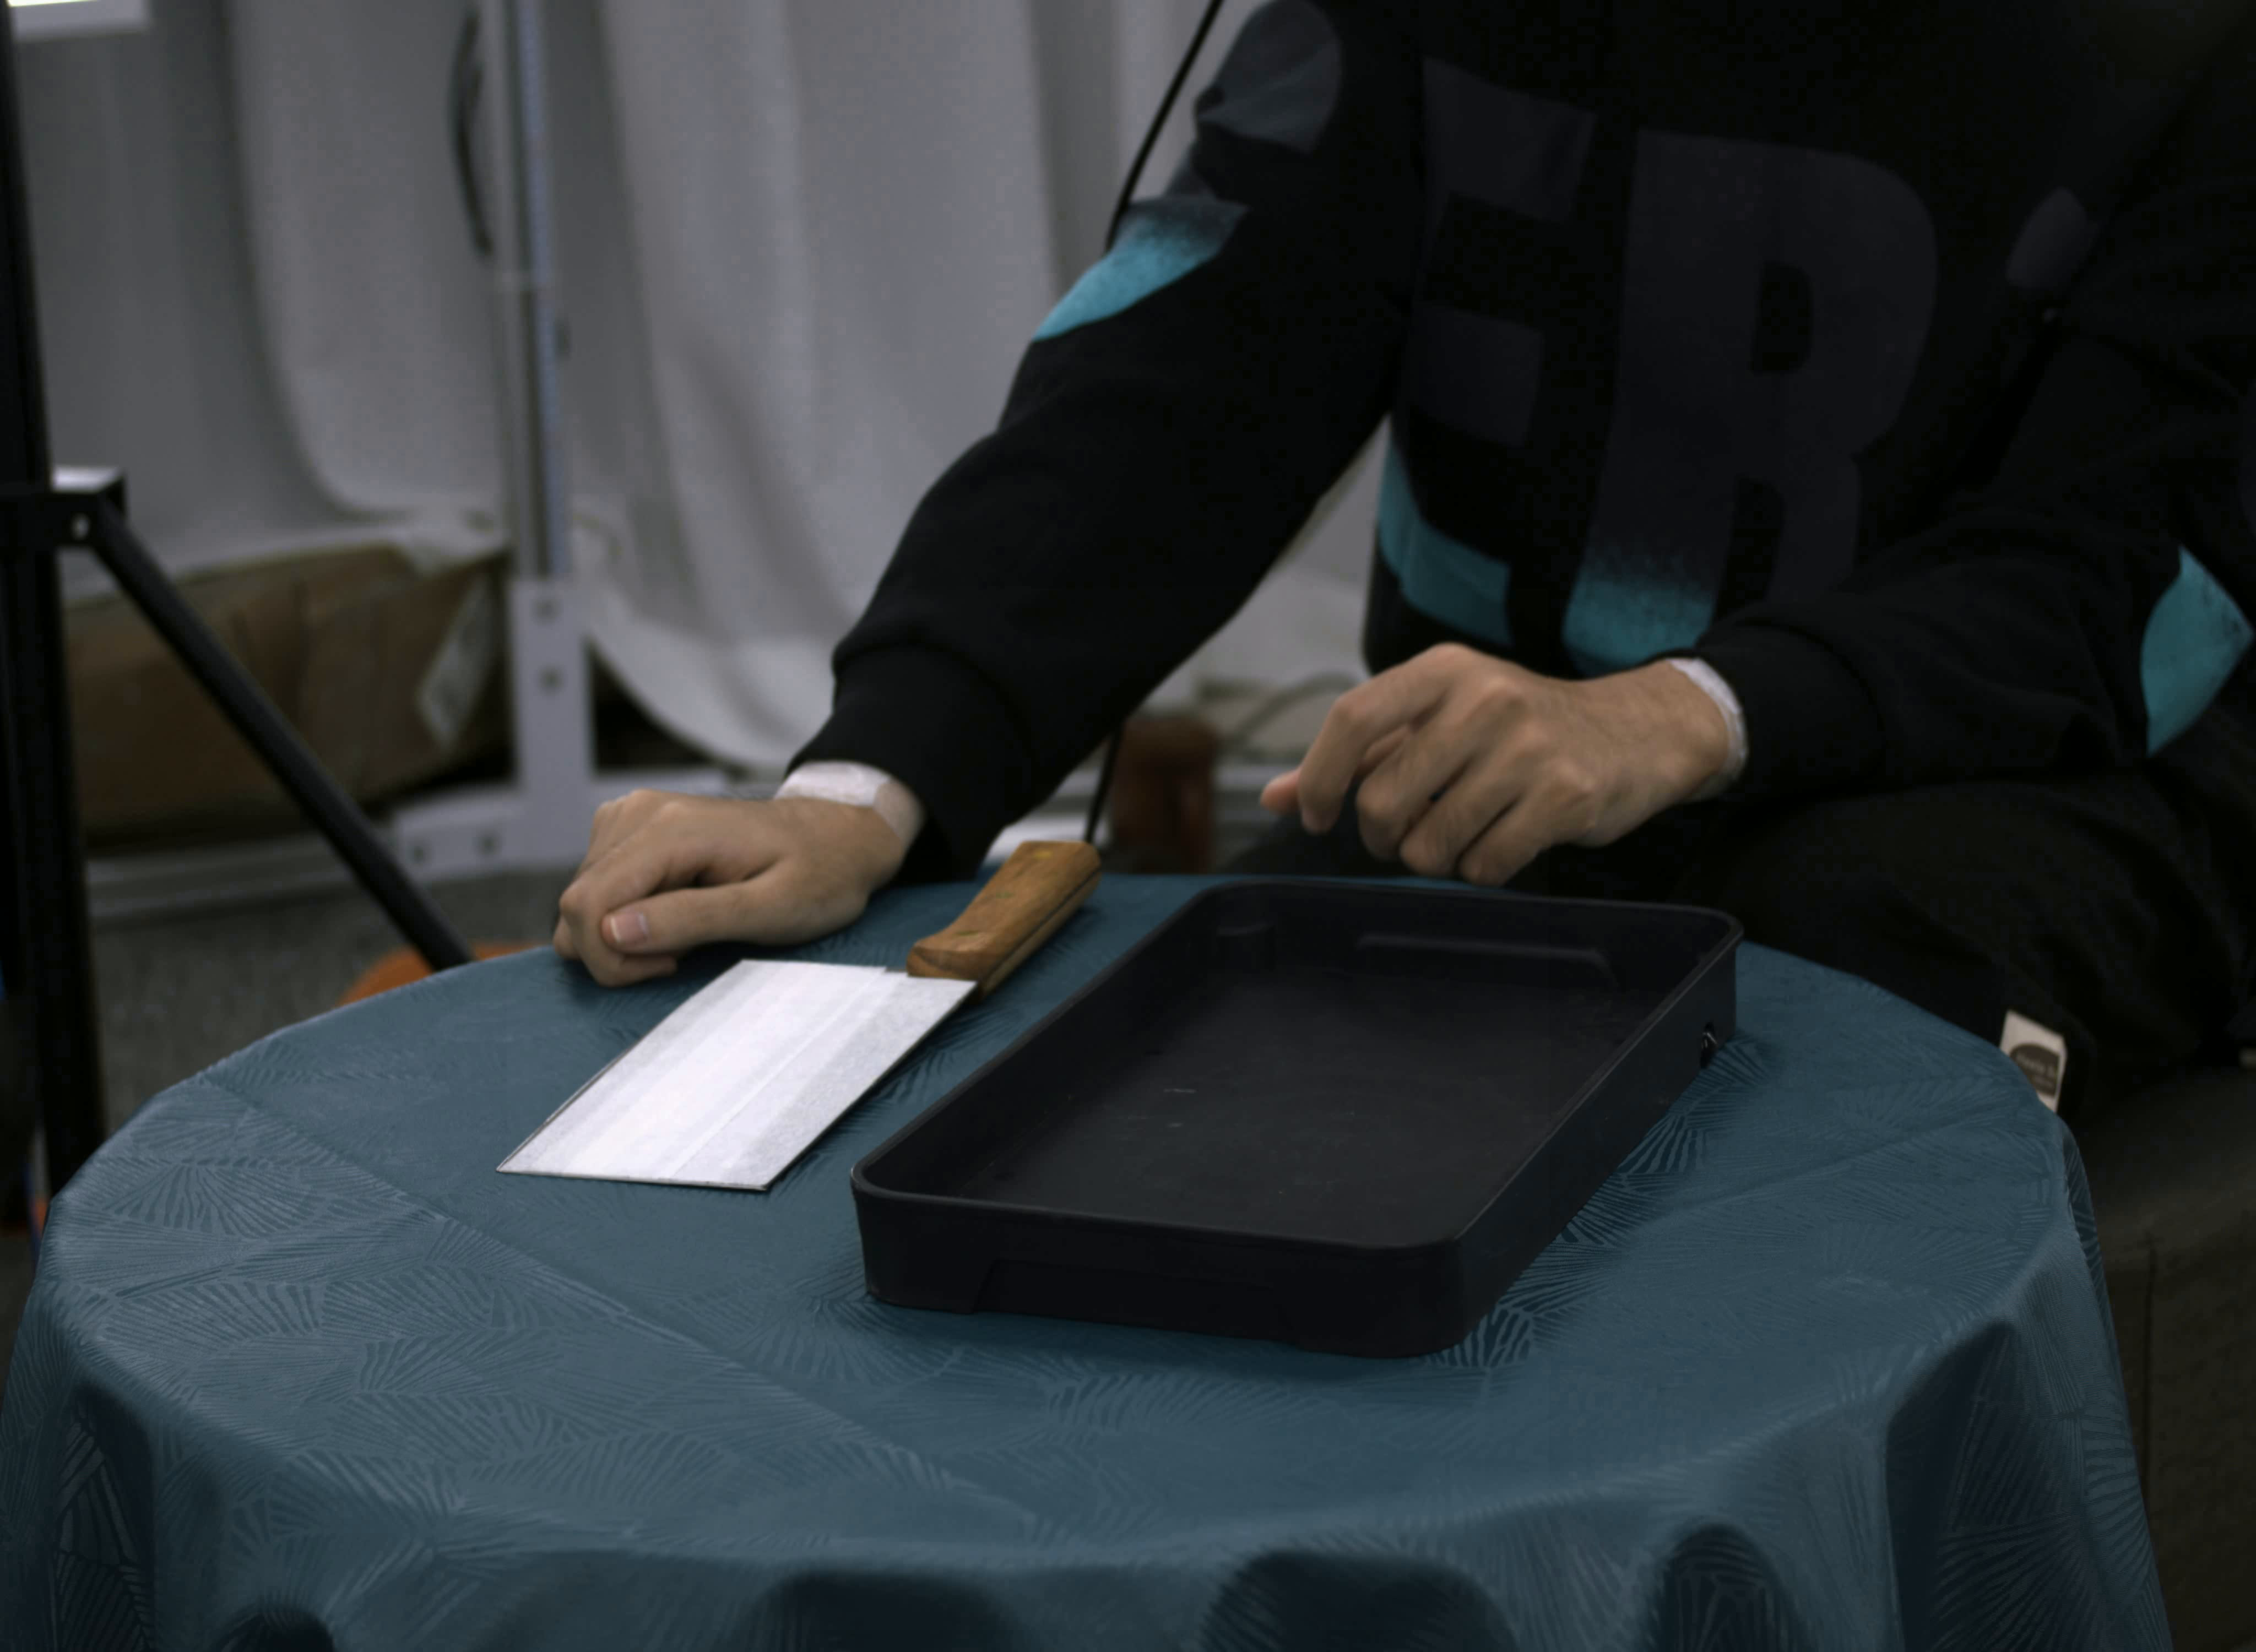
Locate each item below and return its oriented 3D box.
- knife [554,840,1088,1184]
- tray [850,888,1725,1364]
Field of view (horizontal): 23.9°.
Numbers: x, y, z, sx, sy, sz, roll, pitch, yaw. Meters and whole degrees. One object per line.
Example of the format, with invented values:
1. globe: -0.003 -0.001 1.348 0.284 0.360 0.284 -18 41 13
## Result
1. knife: -0.098 0.059 1.721 0.094 0.021 0.302 1 18 20
2. tray: 0.056 0.082 1.573 0.186 0.037 0.314 3 16 20
